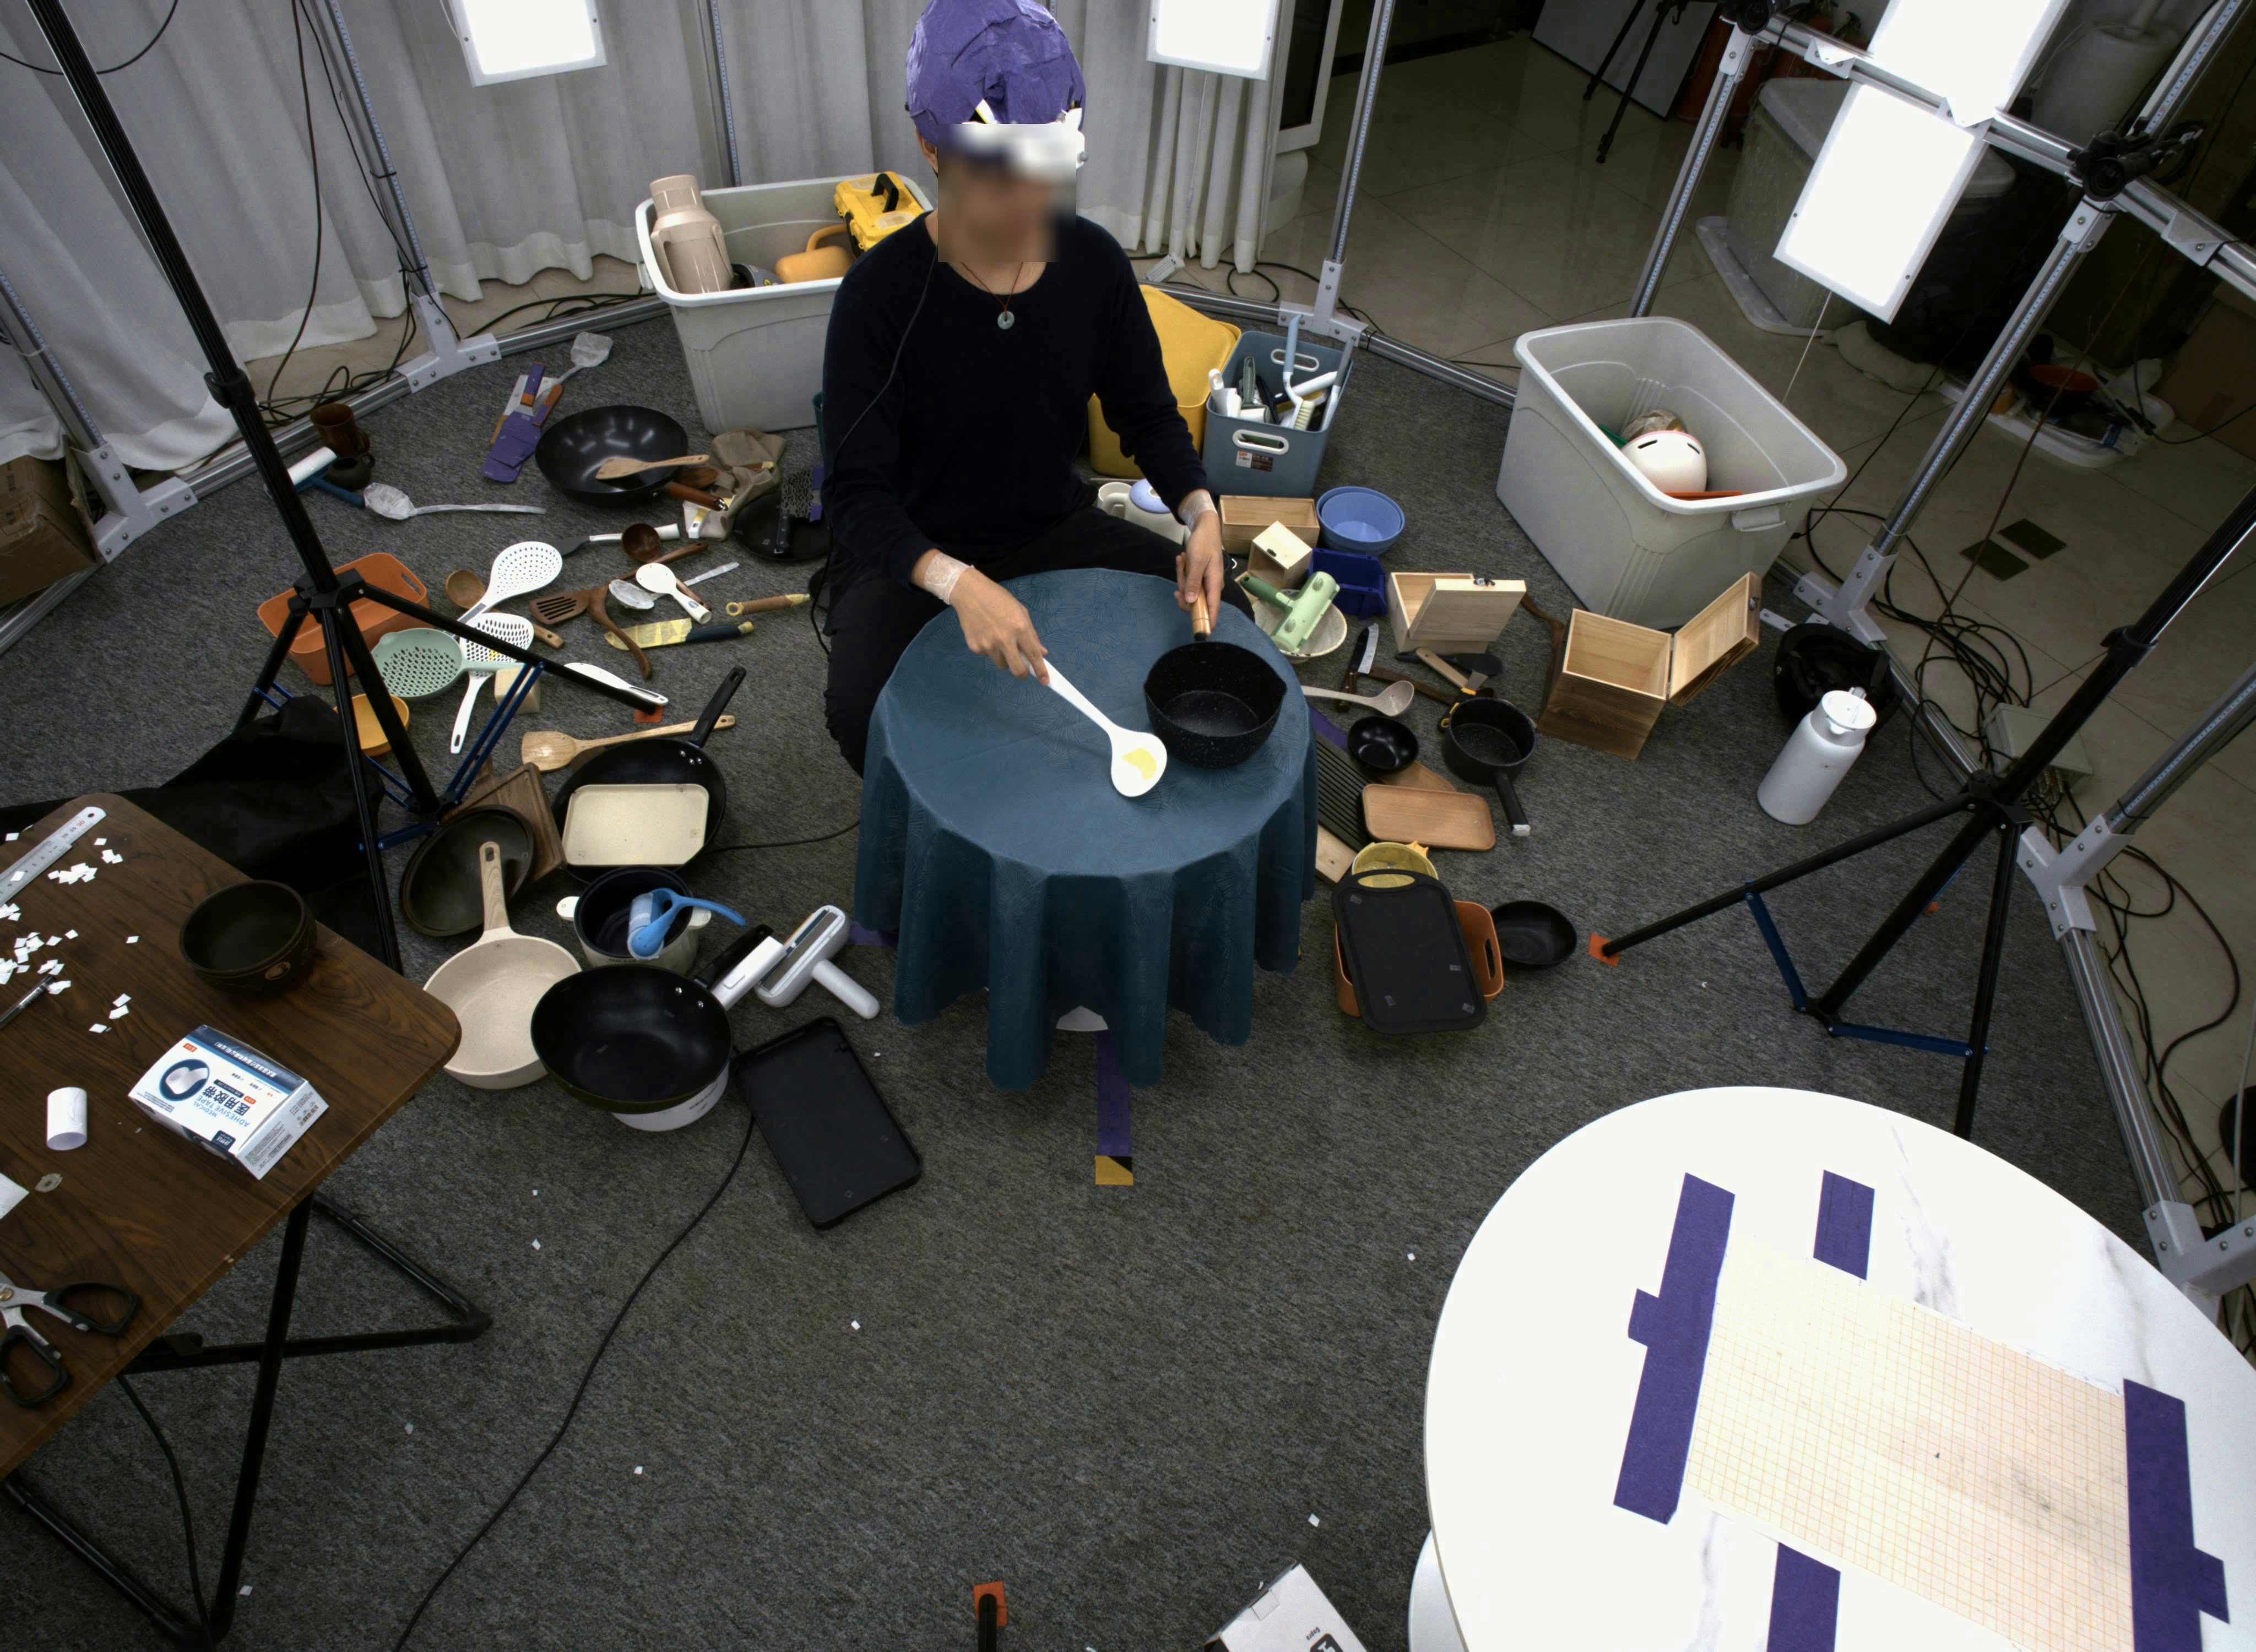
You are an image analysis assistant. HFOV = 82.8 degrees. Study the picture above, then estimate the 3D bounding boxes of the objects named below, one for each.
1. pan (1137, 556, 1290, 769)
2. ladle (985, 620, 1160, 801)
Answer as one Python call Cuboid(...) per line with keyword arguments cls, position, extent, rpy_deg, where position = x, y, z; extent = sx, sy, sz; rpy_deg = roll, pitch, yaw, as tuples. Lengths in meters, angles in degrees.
Cuboid(cls="pan", position=(0.106, -0.230, 1.806), extent=(0.207, 0.105, 0.351), rpy_deg=(-4, 51, -6))
Cuboid(cls="ladle", position=(-0.075, -0.155, 1.689), extent=(0.291, 0.089, 0.071), rpy_deg=(42, 29, -7))
